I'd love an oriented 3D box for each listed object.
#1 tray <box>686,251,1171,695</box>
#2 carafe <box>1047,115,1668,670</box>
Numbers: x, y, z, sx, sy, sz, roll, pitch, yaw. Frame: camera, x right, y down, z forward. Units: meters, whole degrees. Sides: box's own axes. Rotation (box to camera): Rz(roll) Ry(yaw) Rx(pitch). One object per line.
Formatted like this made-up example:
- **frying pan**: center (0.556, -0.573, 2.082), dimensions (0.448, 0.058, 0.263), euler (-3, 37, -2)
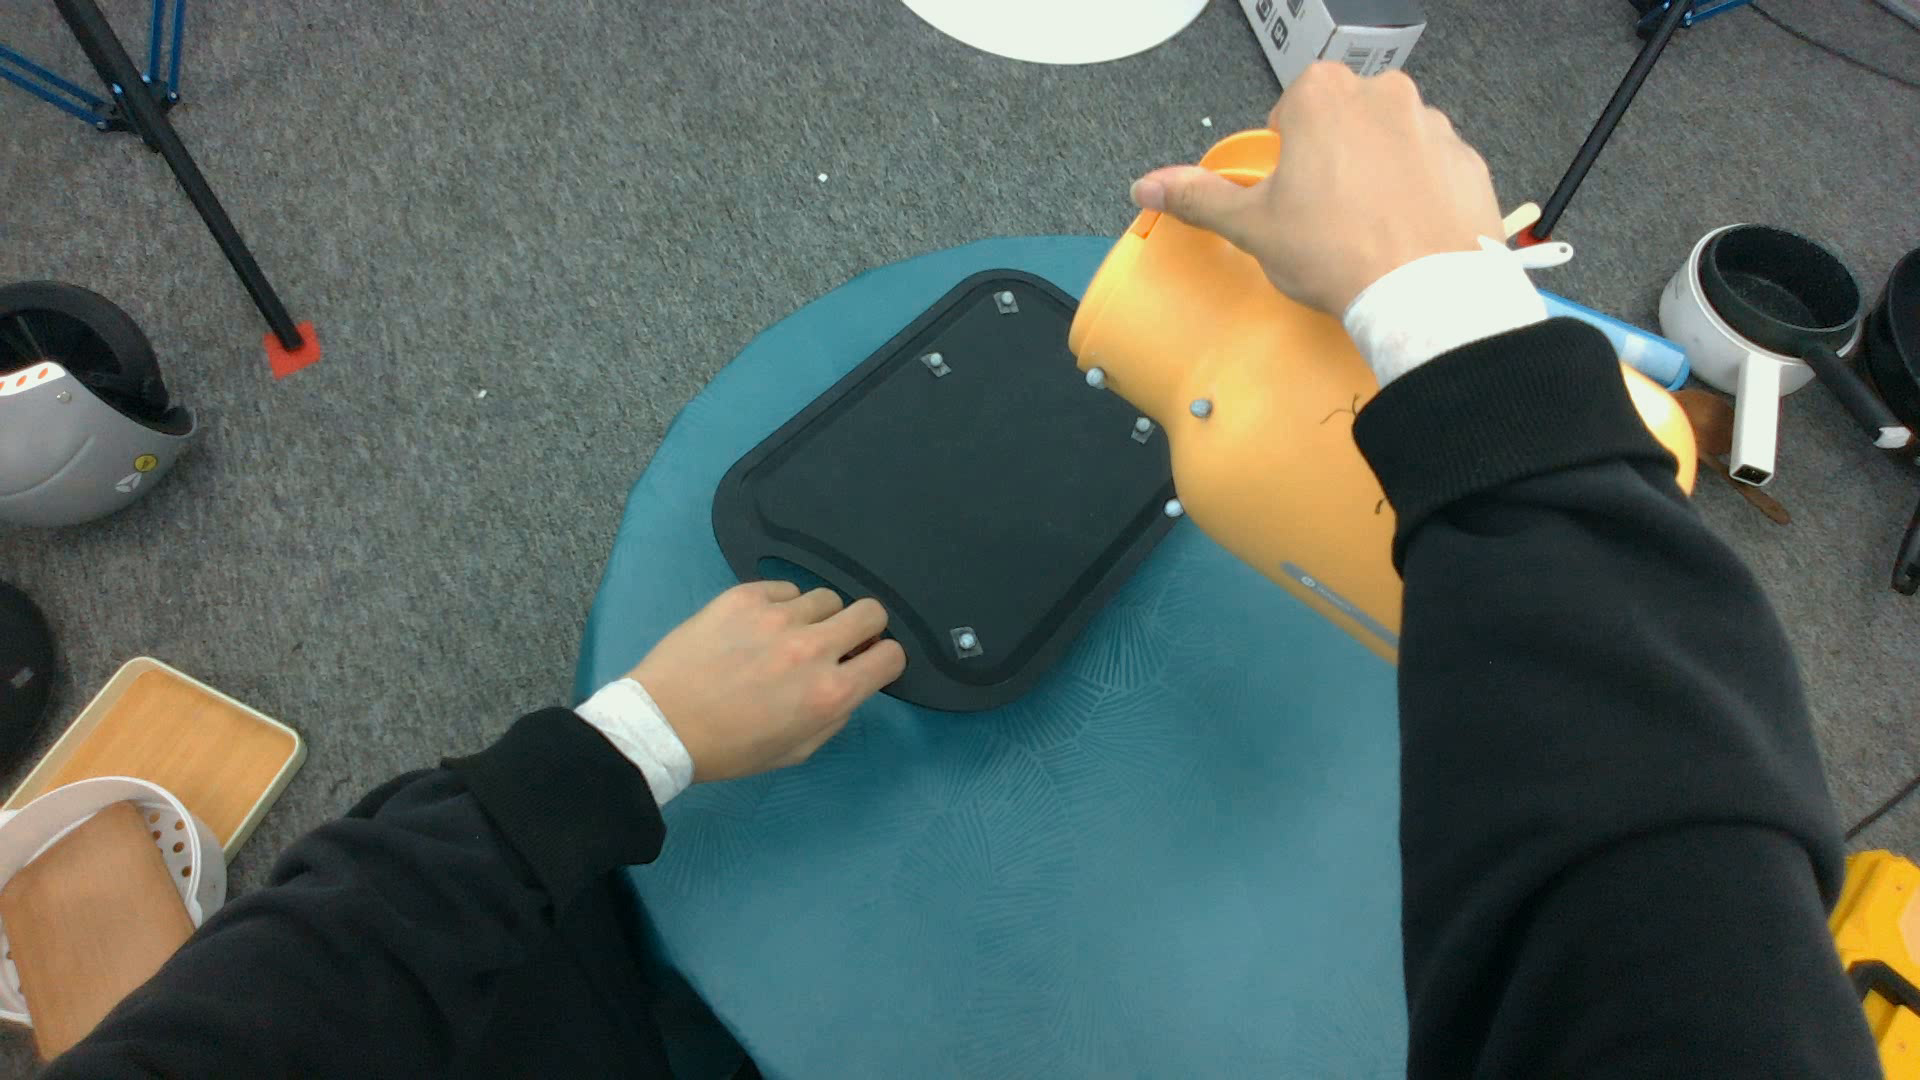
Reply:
- **tray**: center (0.001, -0.051, 0.799), dimensions (0.211, 0.010, 0.327), euler (36, 54, 12)
- **carafe**: center (0.168, -0.073, 0.606), dimensions (0.260, 0.201, 0.164), euler (32, 69, 7)
